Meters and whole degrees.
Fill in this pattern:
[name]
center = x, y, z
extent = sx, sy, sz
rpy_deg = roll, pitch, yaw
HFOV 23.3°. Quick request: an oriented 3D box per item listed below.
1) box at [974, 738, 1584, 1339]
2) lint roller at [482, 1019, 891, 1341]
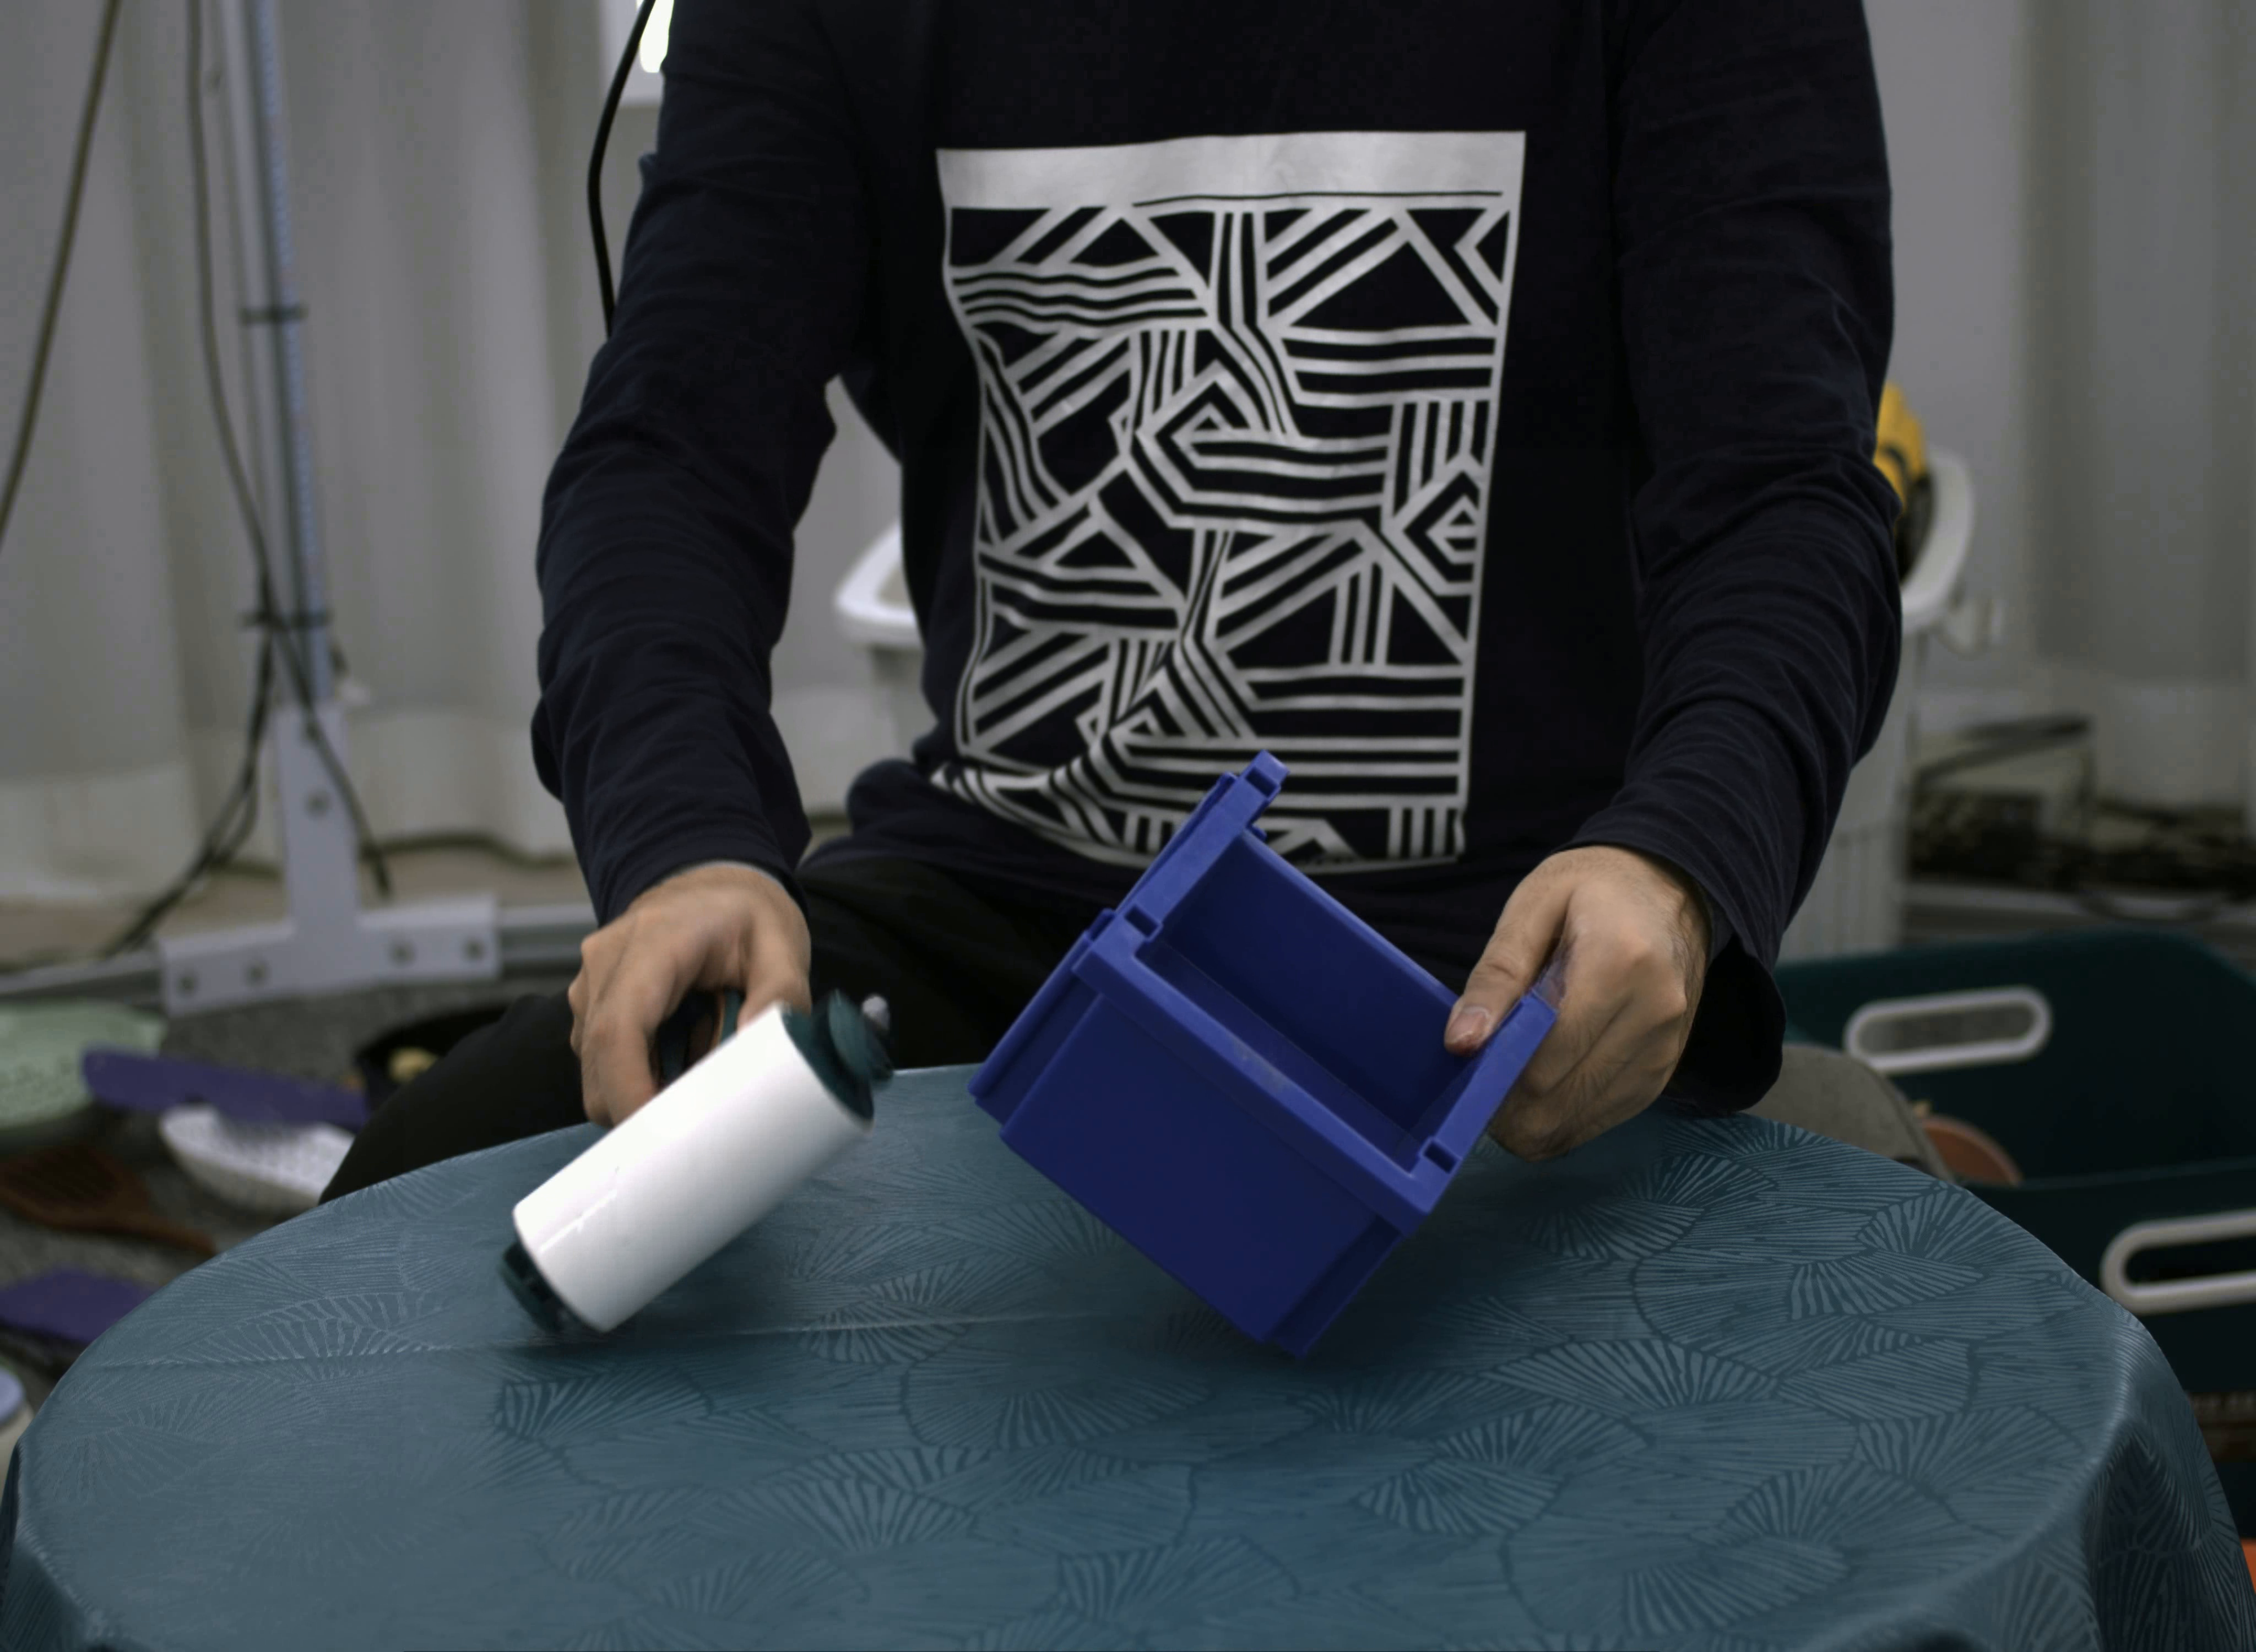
[box]
center = 0.047, 0.057, 1.612
extent = 0.124, 0.081, 0.180
rpy_deg = 38, 33, 5
[lint roller]
center = -0.135, 0.082, 1.661
extent = 0.134, 0.048, 0.182
rpy_deg = -34, 20, 6
